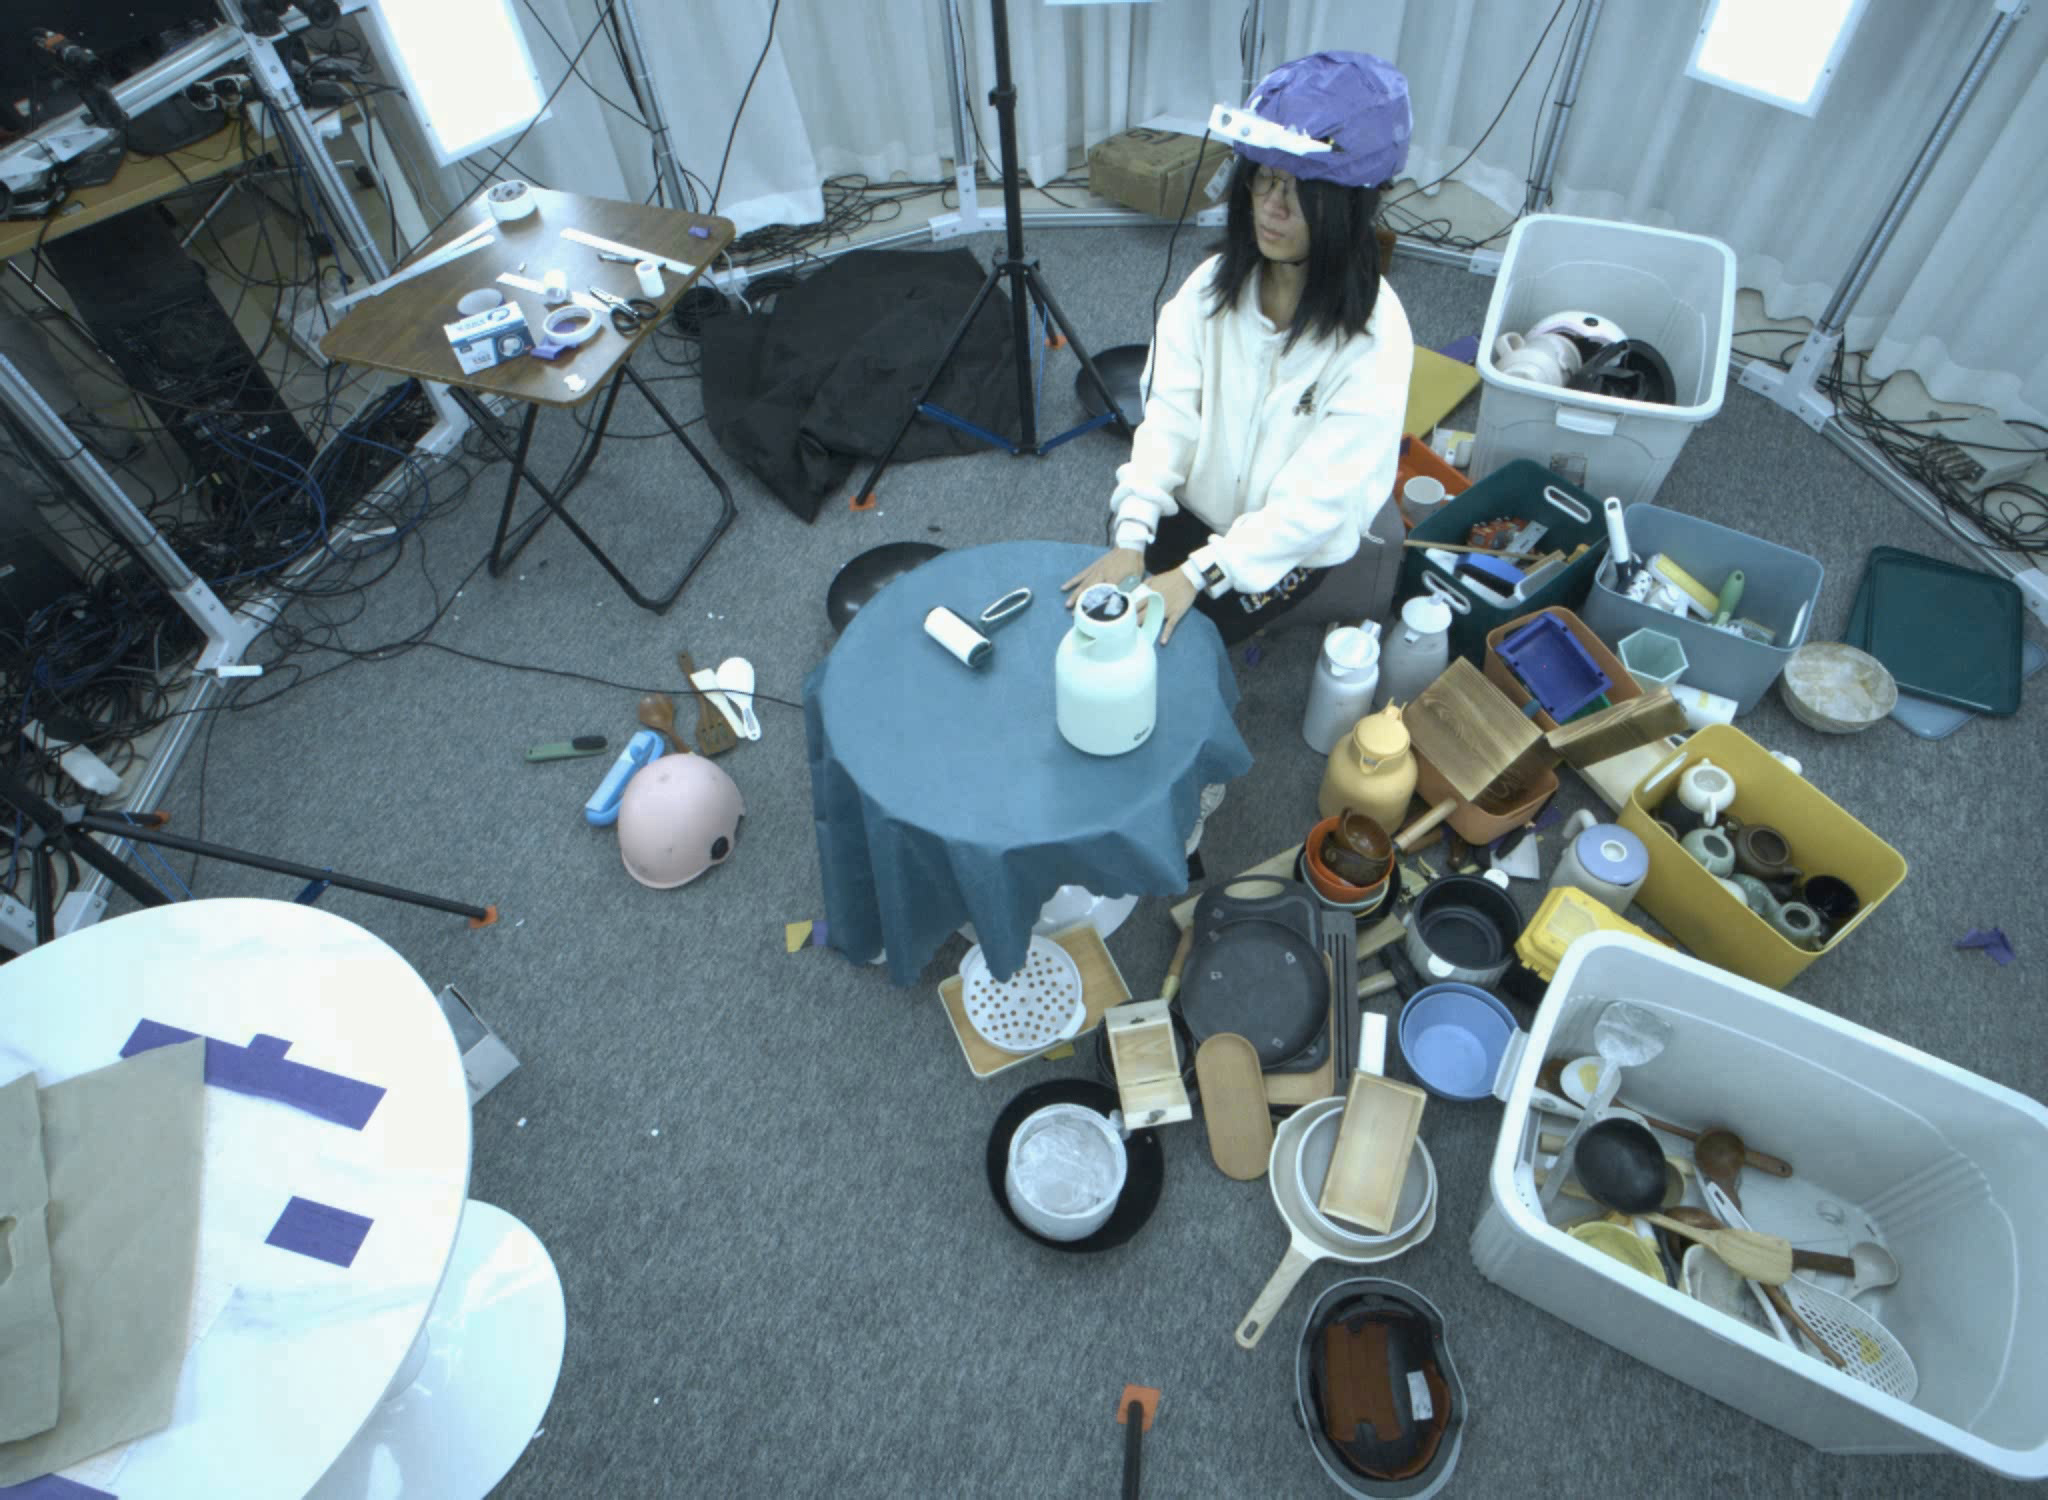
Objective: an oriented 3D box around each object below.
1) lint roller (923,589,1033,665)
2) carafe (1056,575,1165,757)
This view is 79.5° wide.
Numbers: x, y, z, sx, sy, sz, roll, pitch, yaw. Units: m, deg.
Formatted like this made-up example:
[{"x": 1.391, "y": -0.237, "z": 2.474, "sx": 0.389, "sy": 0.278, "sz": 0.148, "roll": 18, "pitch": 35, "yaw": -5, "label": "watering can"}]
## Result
[{"x": -0.055, "y": -0.214, "z": 1.911, "sx": 0.181, "sy": 0.049, "sz": 0.132, "roll": -38, "pitch": 63, "yaw": -22, "label": "lint roller"}, {"x": 0.125, "y": -0.124, "z": 1.718, "sx": 0.141, "sy": 0.259, "sz": 0.188, "roll": 36, "pitch": 60, "yaw": 27, "label": "carafe"}]
